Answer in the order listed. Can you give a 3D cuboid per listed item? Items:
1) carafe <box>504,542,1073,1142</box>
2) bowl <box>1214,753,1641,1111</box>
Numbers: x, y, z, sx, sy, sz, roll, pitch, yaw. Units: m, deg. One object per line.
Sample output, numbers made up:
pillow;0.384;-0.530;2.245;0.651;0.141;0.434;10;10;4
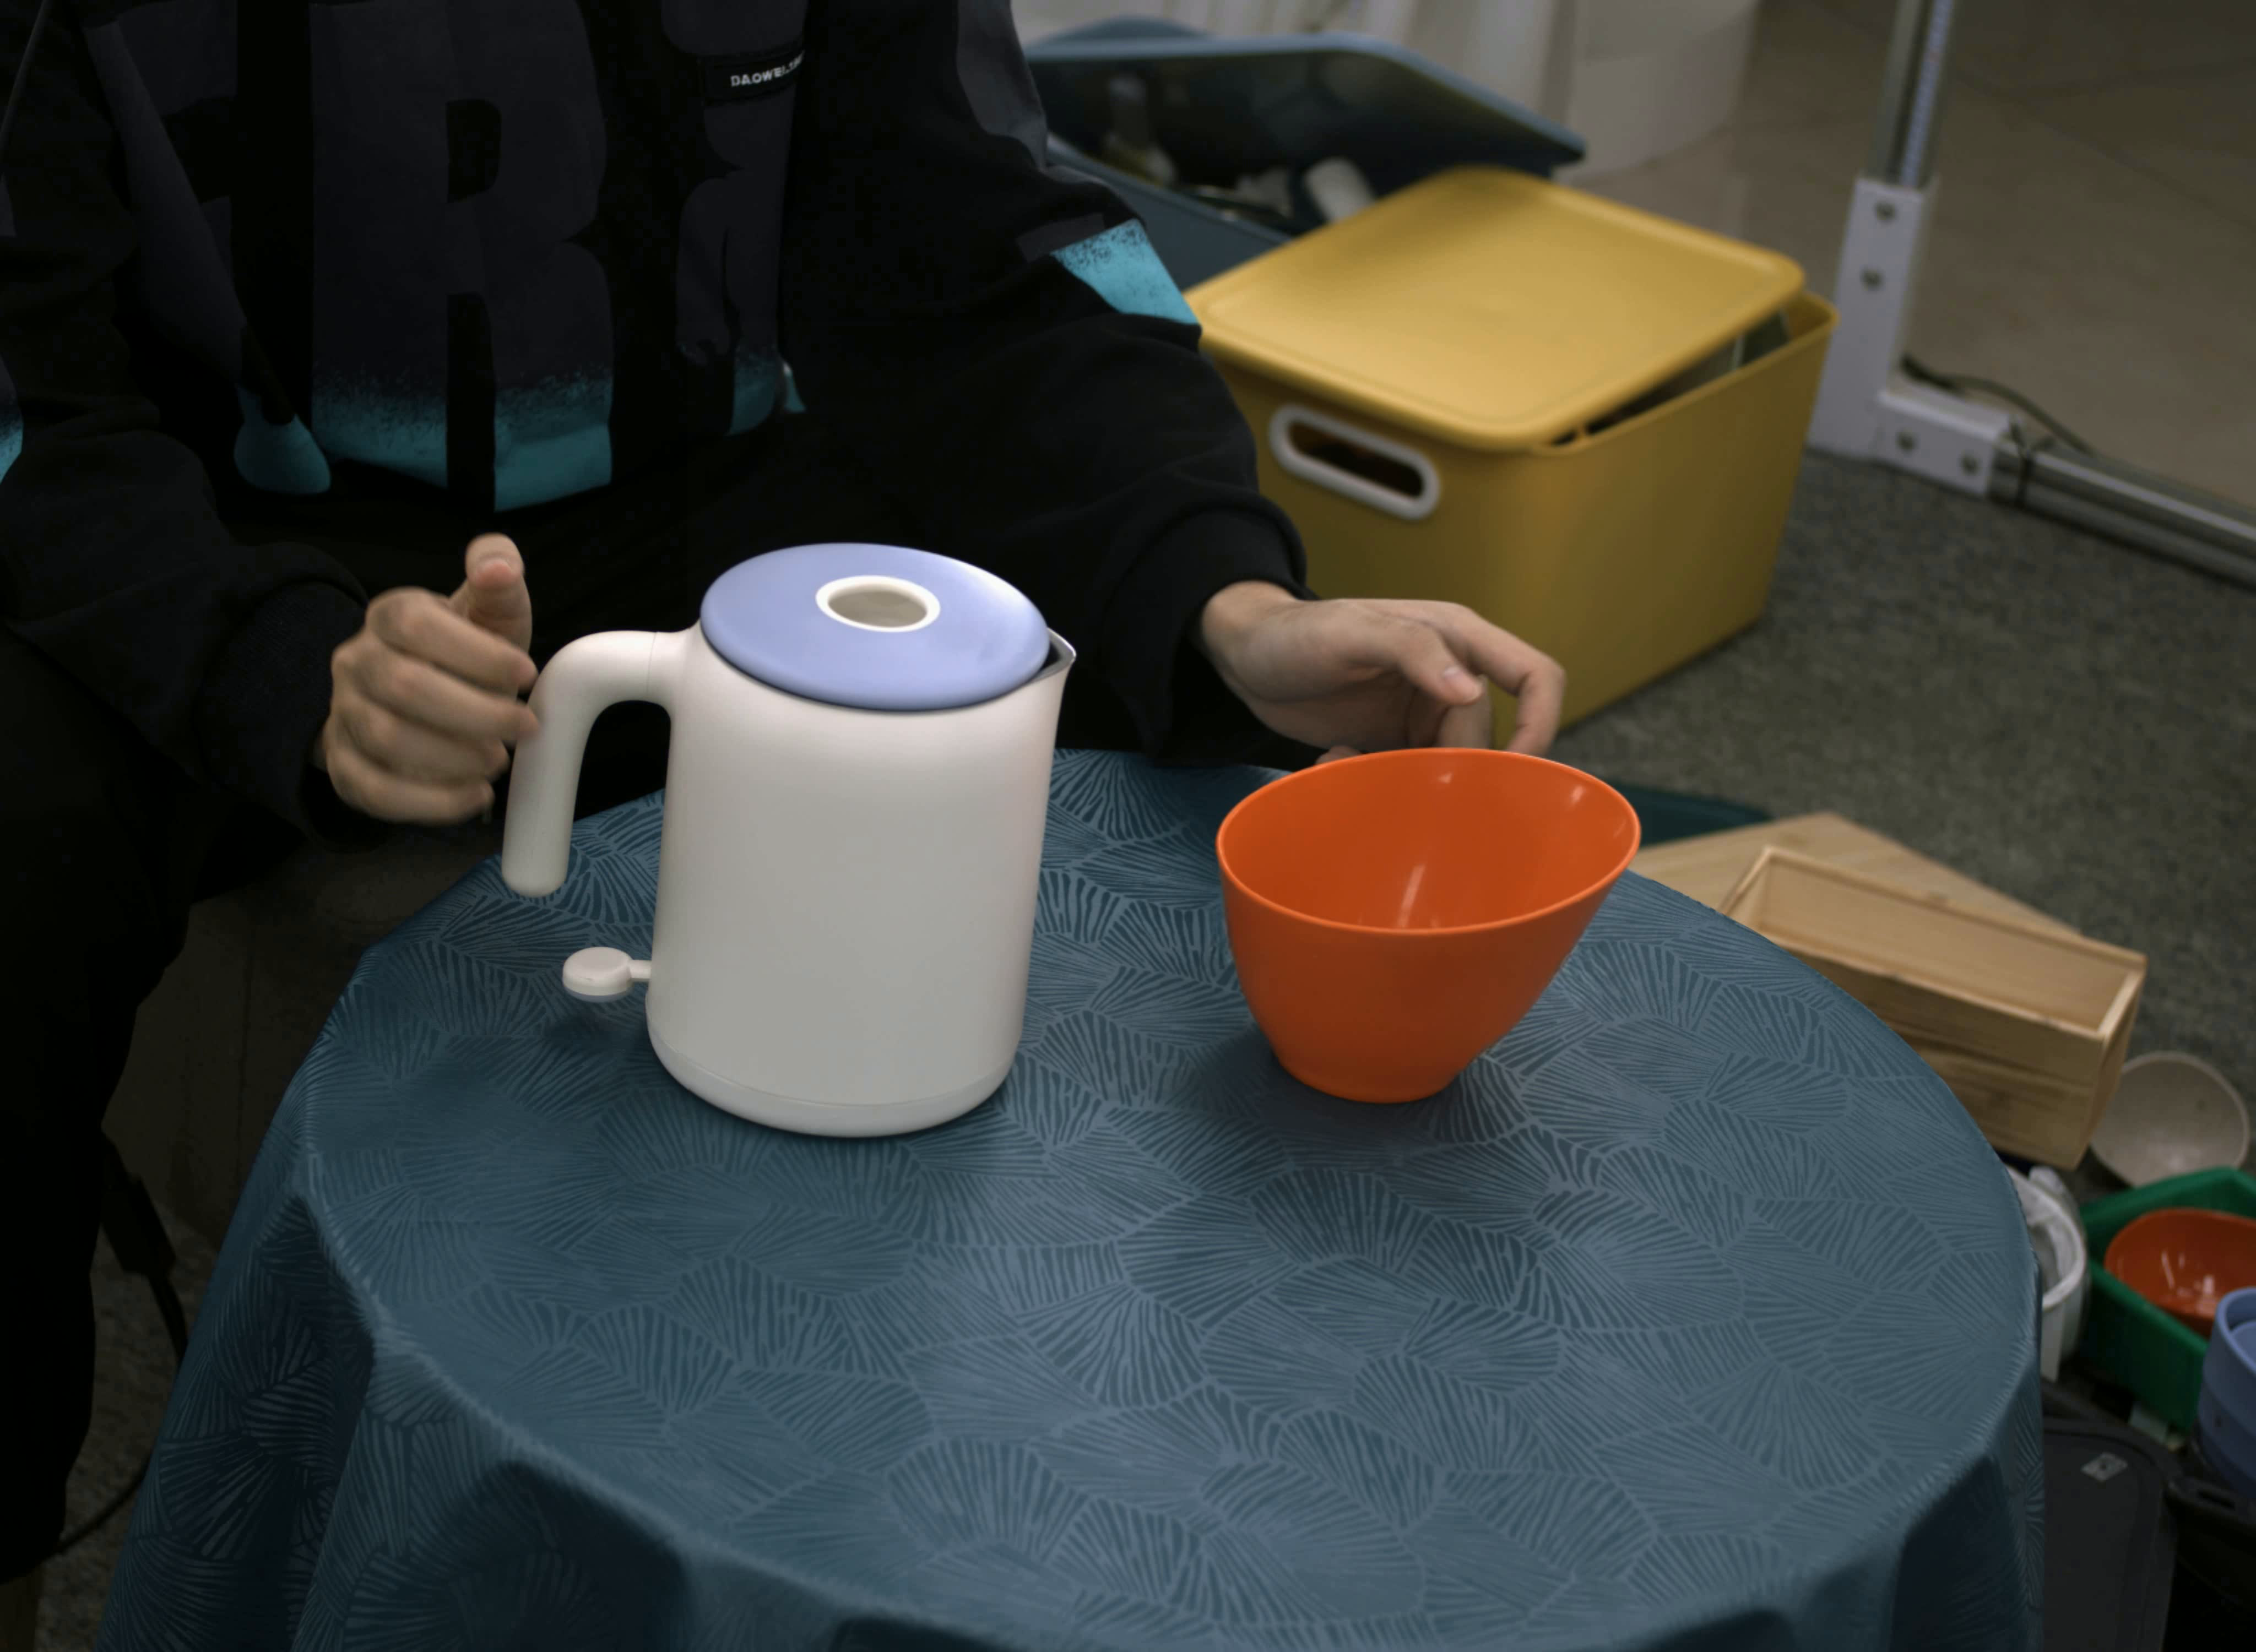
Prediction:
carafe;-0.118;0.003;1.822;0.190;0.182;0.133;3;25;-1
bowl;0.099;0.042;1.871;0.147;0.104;0.149;6;27;-3
